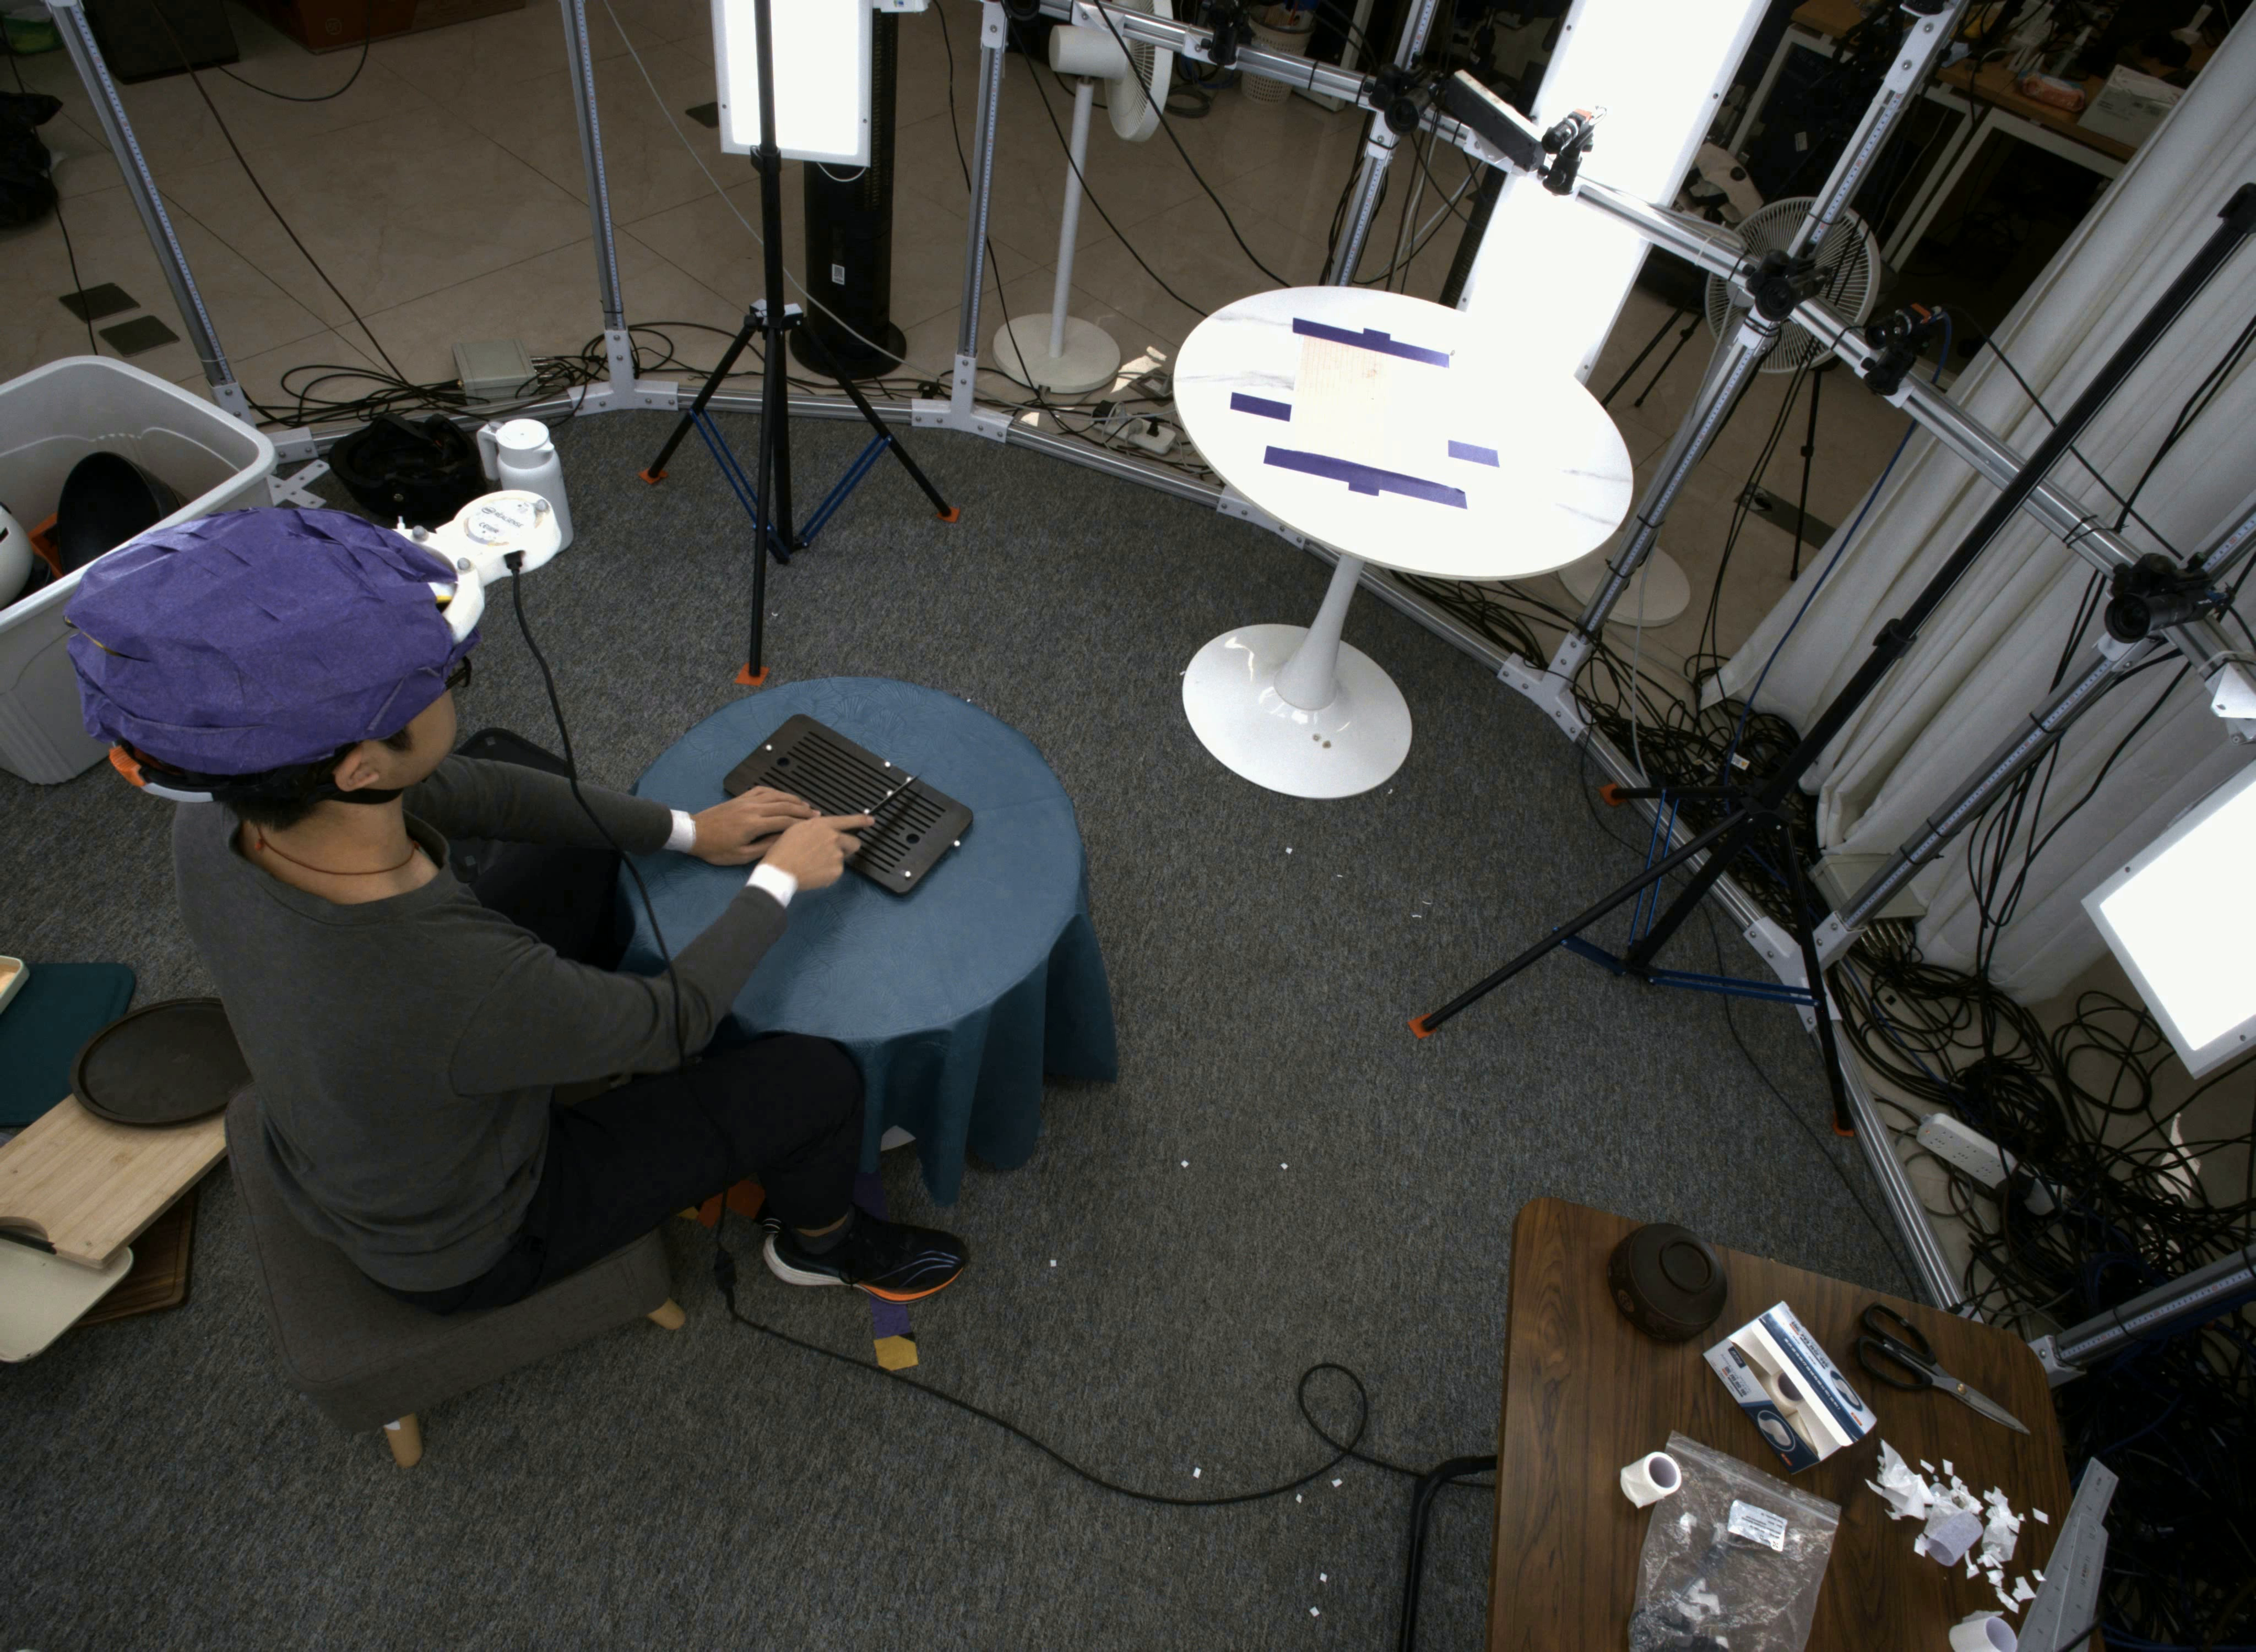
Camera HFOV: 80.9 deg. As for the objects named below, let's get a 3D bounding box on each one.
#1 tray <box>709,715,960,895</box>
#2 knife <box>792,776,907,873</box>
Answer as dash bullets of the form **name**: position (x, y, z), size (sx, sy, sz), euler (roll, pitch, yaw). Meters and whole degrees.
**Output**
- **tray**: position (-0.395, -0.032, 1.755), size (0.301, 0.019, 0.169), euler (29, 53, 8)
- **knife**: position (-0.356, -0.011, 1.684), size (0.016, 0.025, 0.237), euler (32, 42, 9)
